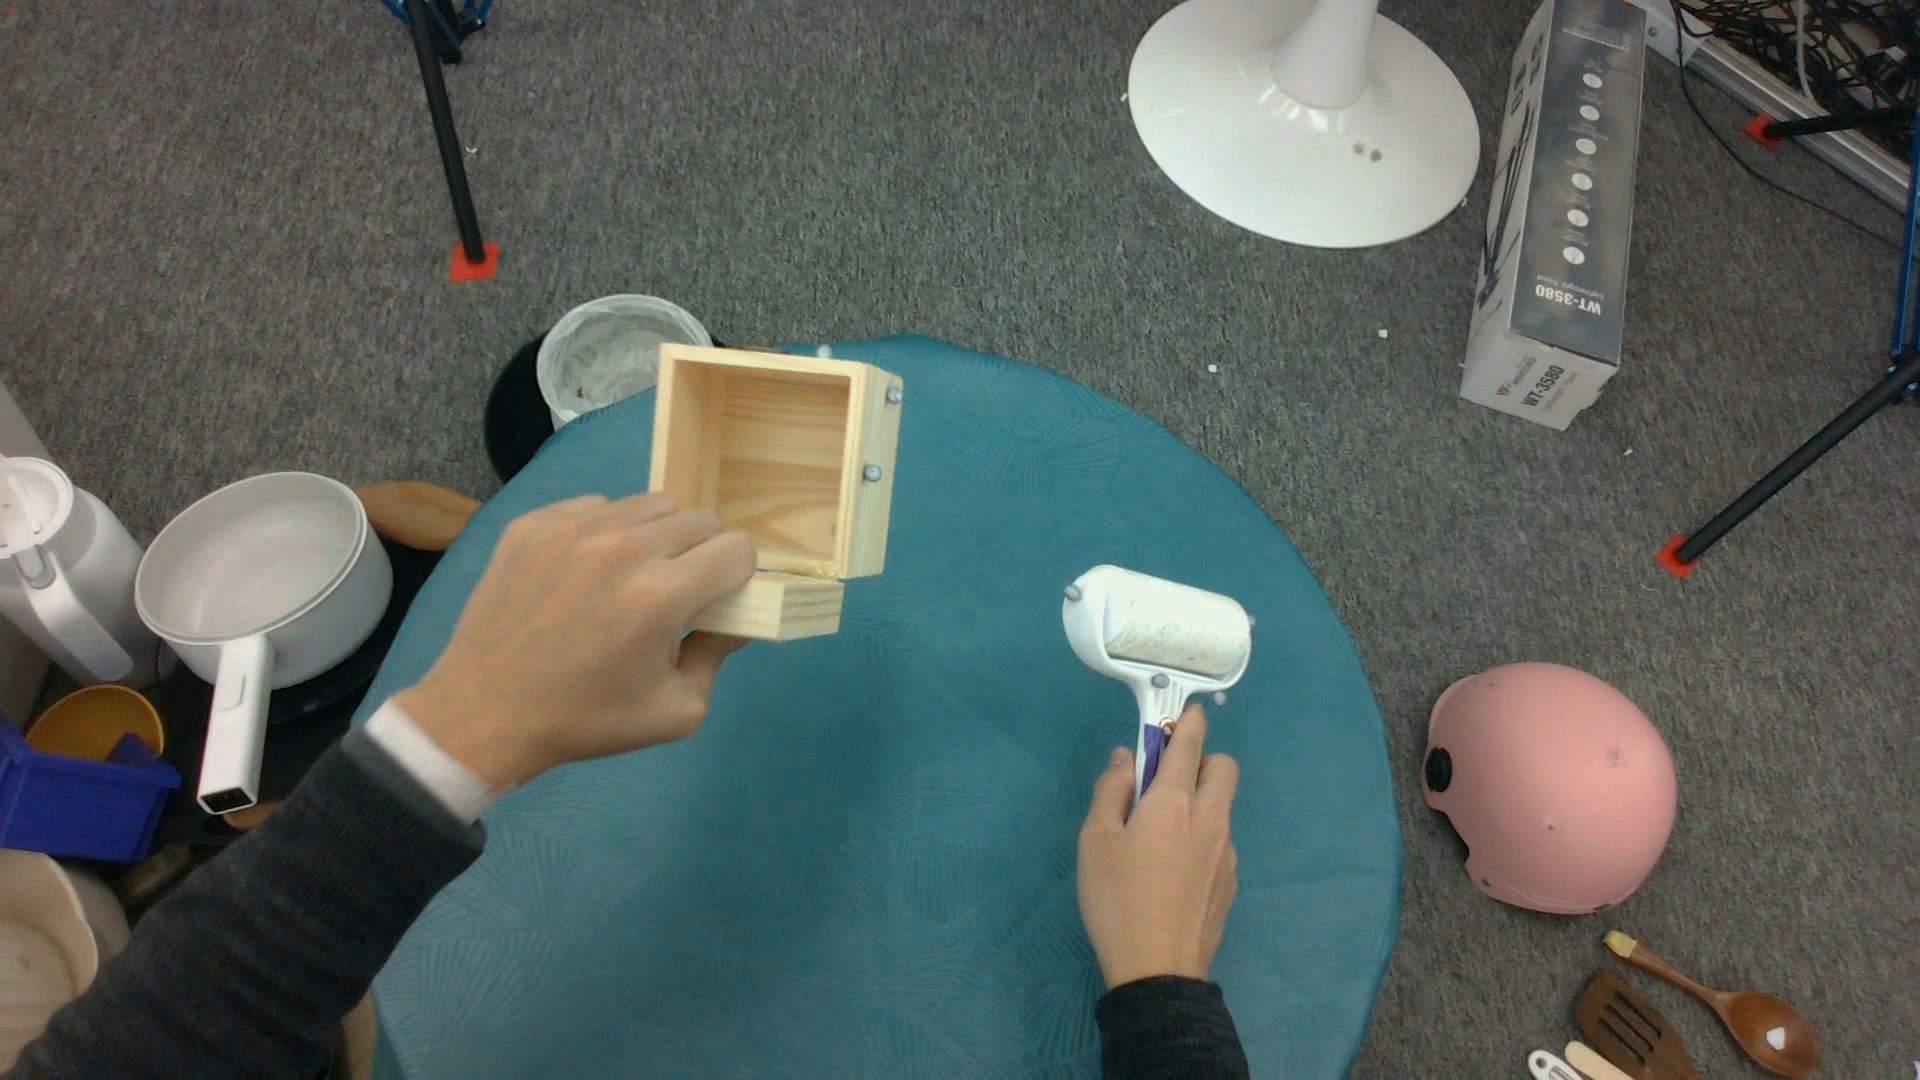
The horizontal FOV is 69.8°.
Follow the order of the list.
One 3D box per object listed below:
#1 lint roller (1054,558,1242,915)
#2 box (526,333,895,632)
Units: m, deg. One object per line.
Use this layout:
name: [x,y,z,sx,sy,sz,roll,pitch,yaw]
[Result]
lint roller: [0.107,0.103,0.727,0.133,0.050,0.181,17,61,-41]
box: [-0.105,-0.032,0.635,0.102,0.184,0.134,7,91,9]
